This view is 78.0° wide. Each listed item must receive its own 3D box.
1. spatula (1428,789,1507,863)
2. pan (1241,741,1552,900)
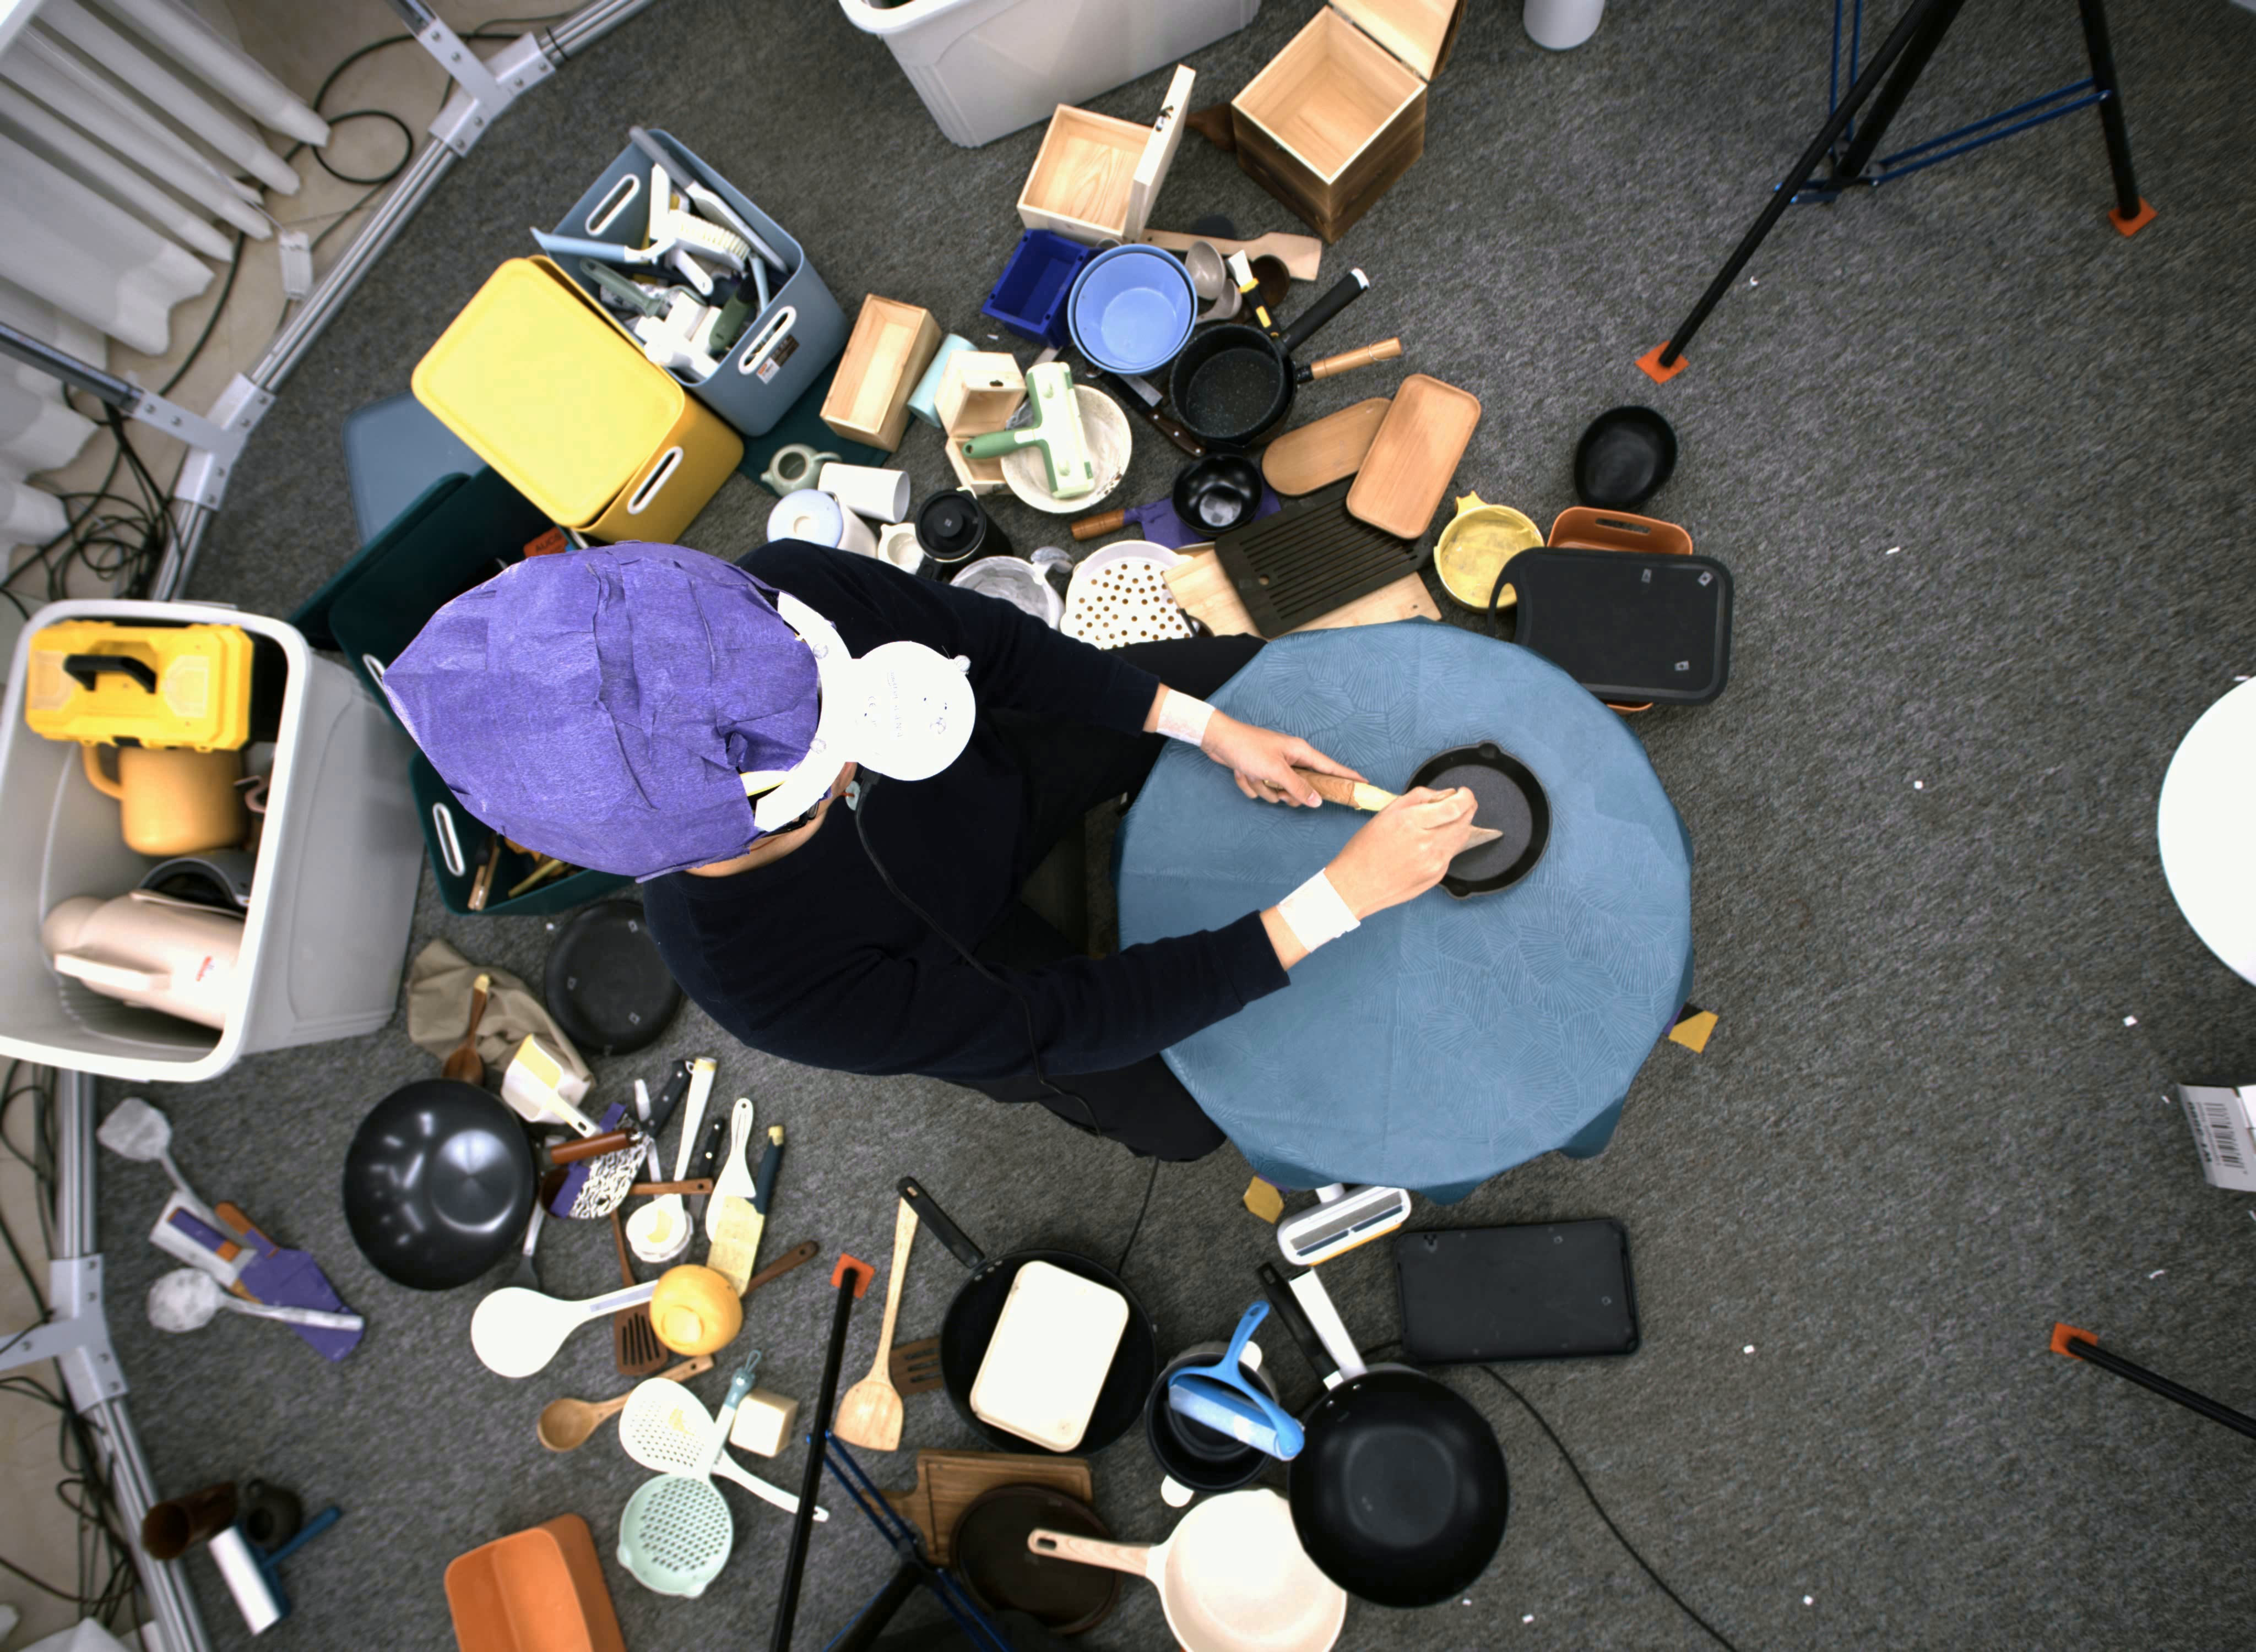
[{"bbox_3d":[0.310,-0.002,1.294,0.080,0.328,0.016,-24,73,13],"label":"spatula"},{"bbox_3d":[0.278,-0.028,1.438,0.324,0.049,0.168,15,89,10],"label":"pan"}]
